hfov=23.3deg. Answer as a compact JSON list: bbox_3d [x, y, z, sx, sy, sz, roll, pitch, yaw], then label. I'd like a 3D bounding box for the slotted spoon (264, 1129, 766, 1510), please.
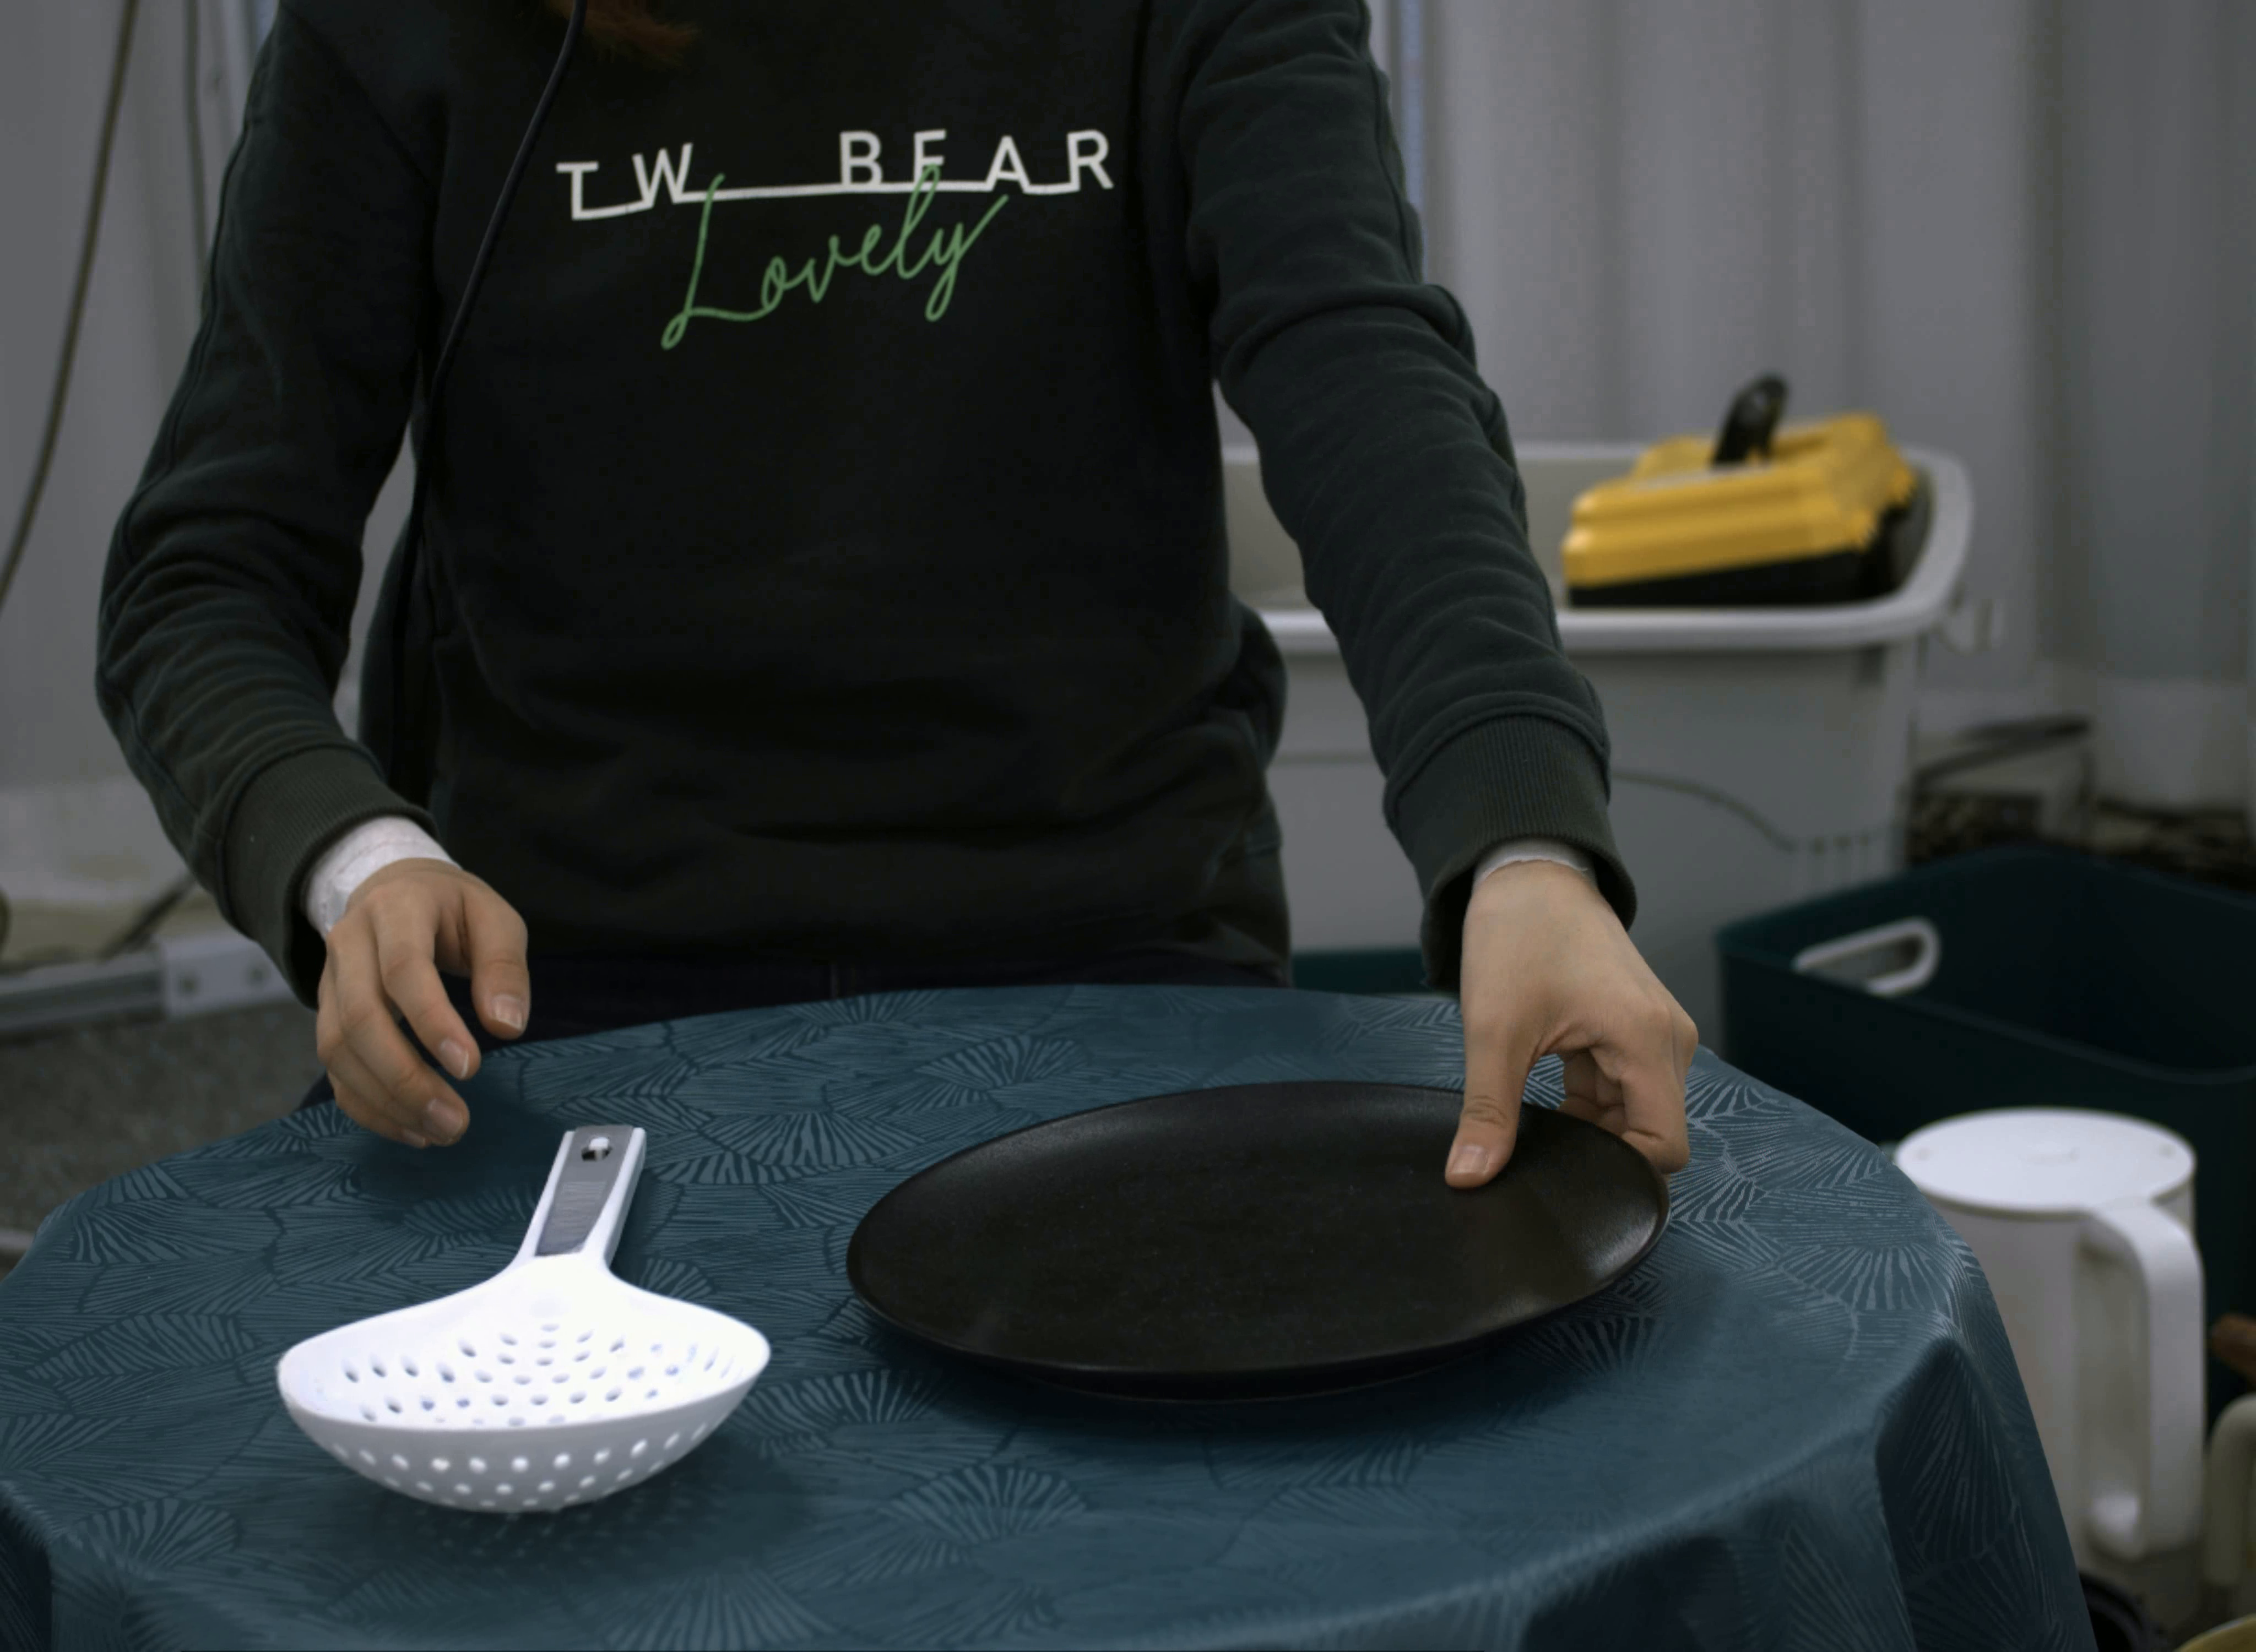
[{"bbox_3d":[-0.166,0.134,1.587,0.135,0.045,0.352,0,14,0],"label":"slotted spoon"}]

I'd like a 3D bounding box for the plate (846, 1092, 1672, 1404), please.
[{"bbox_3d":[0.039,0.127,1.609,0.243,0.023,0.246,-4,15,1],"label":"plate"}]
